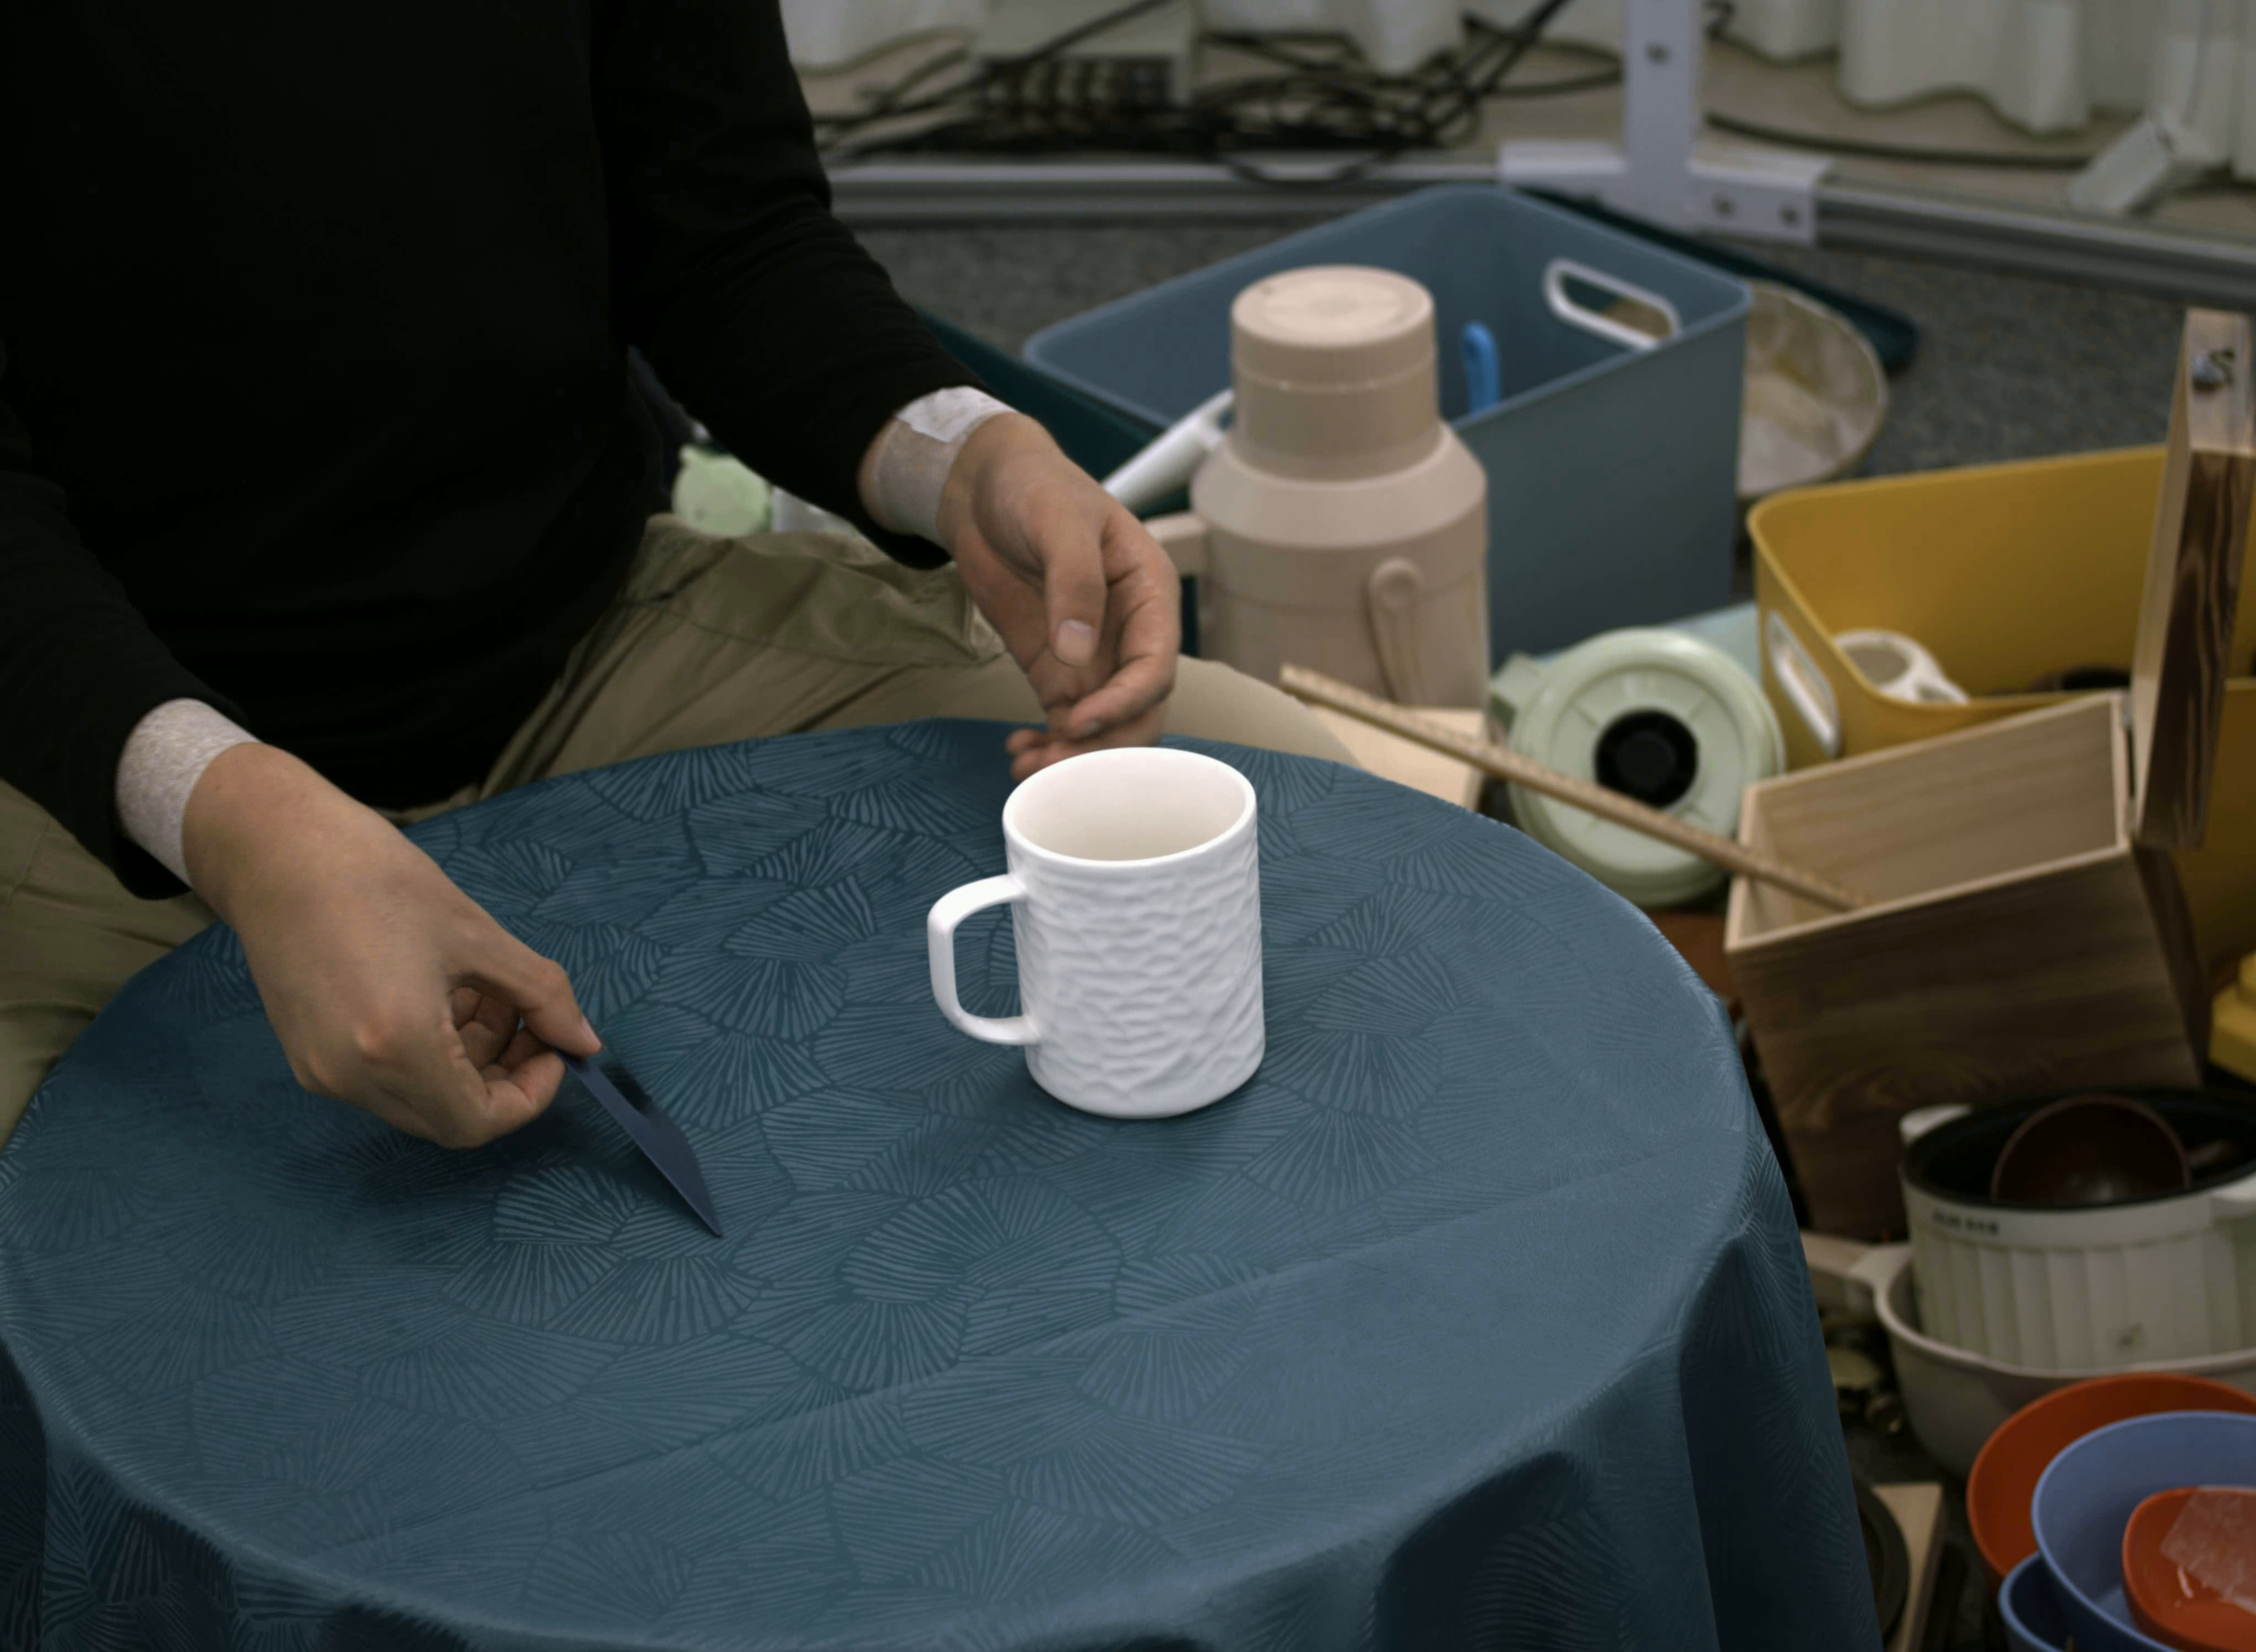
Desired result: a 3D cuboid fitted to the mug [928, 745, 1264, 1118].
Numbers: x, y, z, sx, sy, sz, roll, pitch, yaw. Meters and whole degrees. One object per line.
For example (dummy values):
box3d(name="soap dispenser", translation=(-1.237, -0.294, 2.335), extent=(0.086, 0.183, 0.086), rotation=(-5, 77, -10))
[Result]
box3d(name="mug", translation=(-0.011, 0.040, 1.909), extent=(0.119, 0.101, 0.085), rotation=(-14, 29, -21))

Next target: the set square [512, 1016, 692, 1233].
box3d(name="set square", translation=(-0.176, 0.093, 1.880), extent=(0.061, 0.006, 0.133), rotation=(31, 15, -24))
